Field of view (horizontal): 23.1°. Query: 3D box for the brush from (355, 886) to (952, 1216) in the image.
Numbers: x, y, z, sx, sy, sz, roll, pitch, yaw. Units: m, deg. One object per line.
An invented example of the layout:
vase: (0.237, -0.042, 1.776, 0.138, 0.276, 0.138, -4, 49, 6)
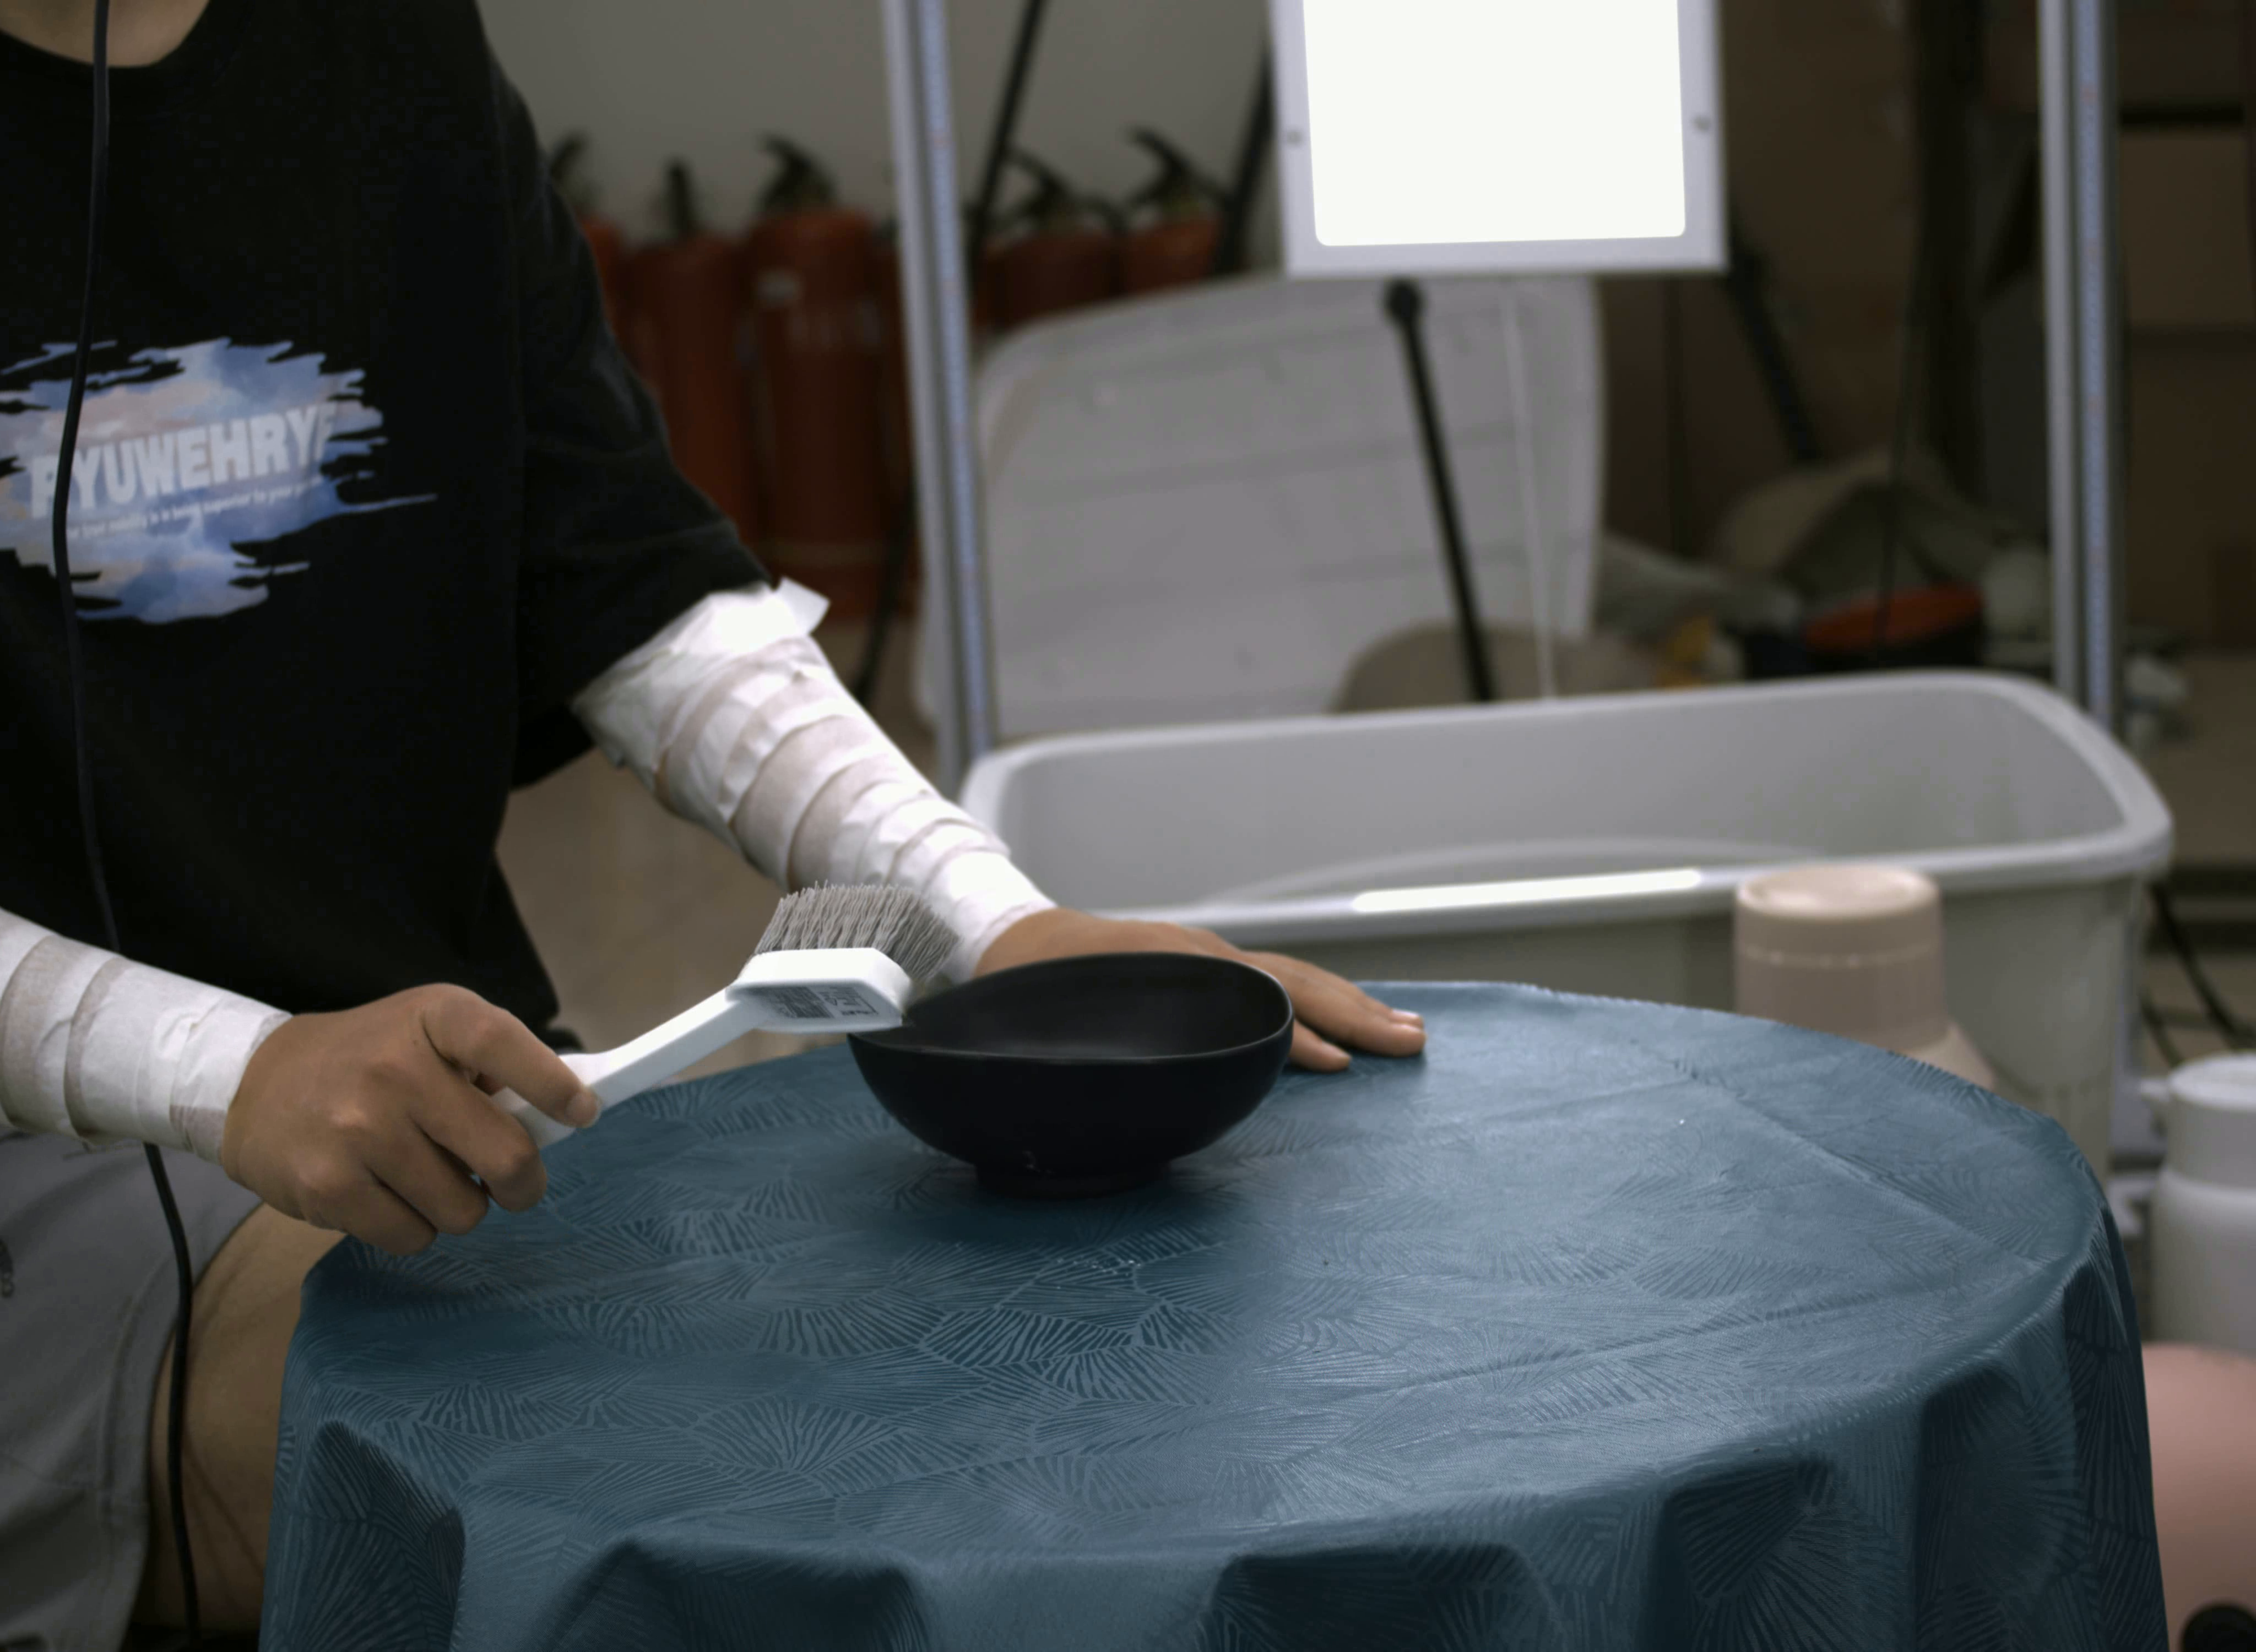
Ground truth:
brush: (-0.159, 0.071, 1.810, 0.249, 0.034, 0.050, -22, 44, 33)

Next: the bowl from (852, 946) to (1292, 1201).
bowl: (-0.019, 0.090, 1.918, 0.174, 0.067, 0.134, 3, 16, 37)
